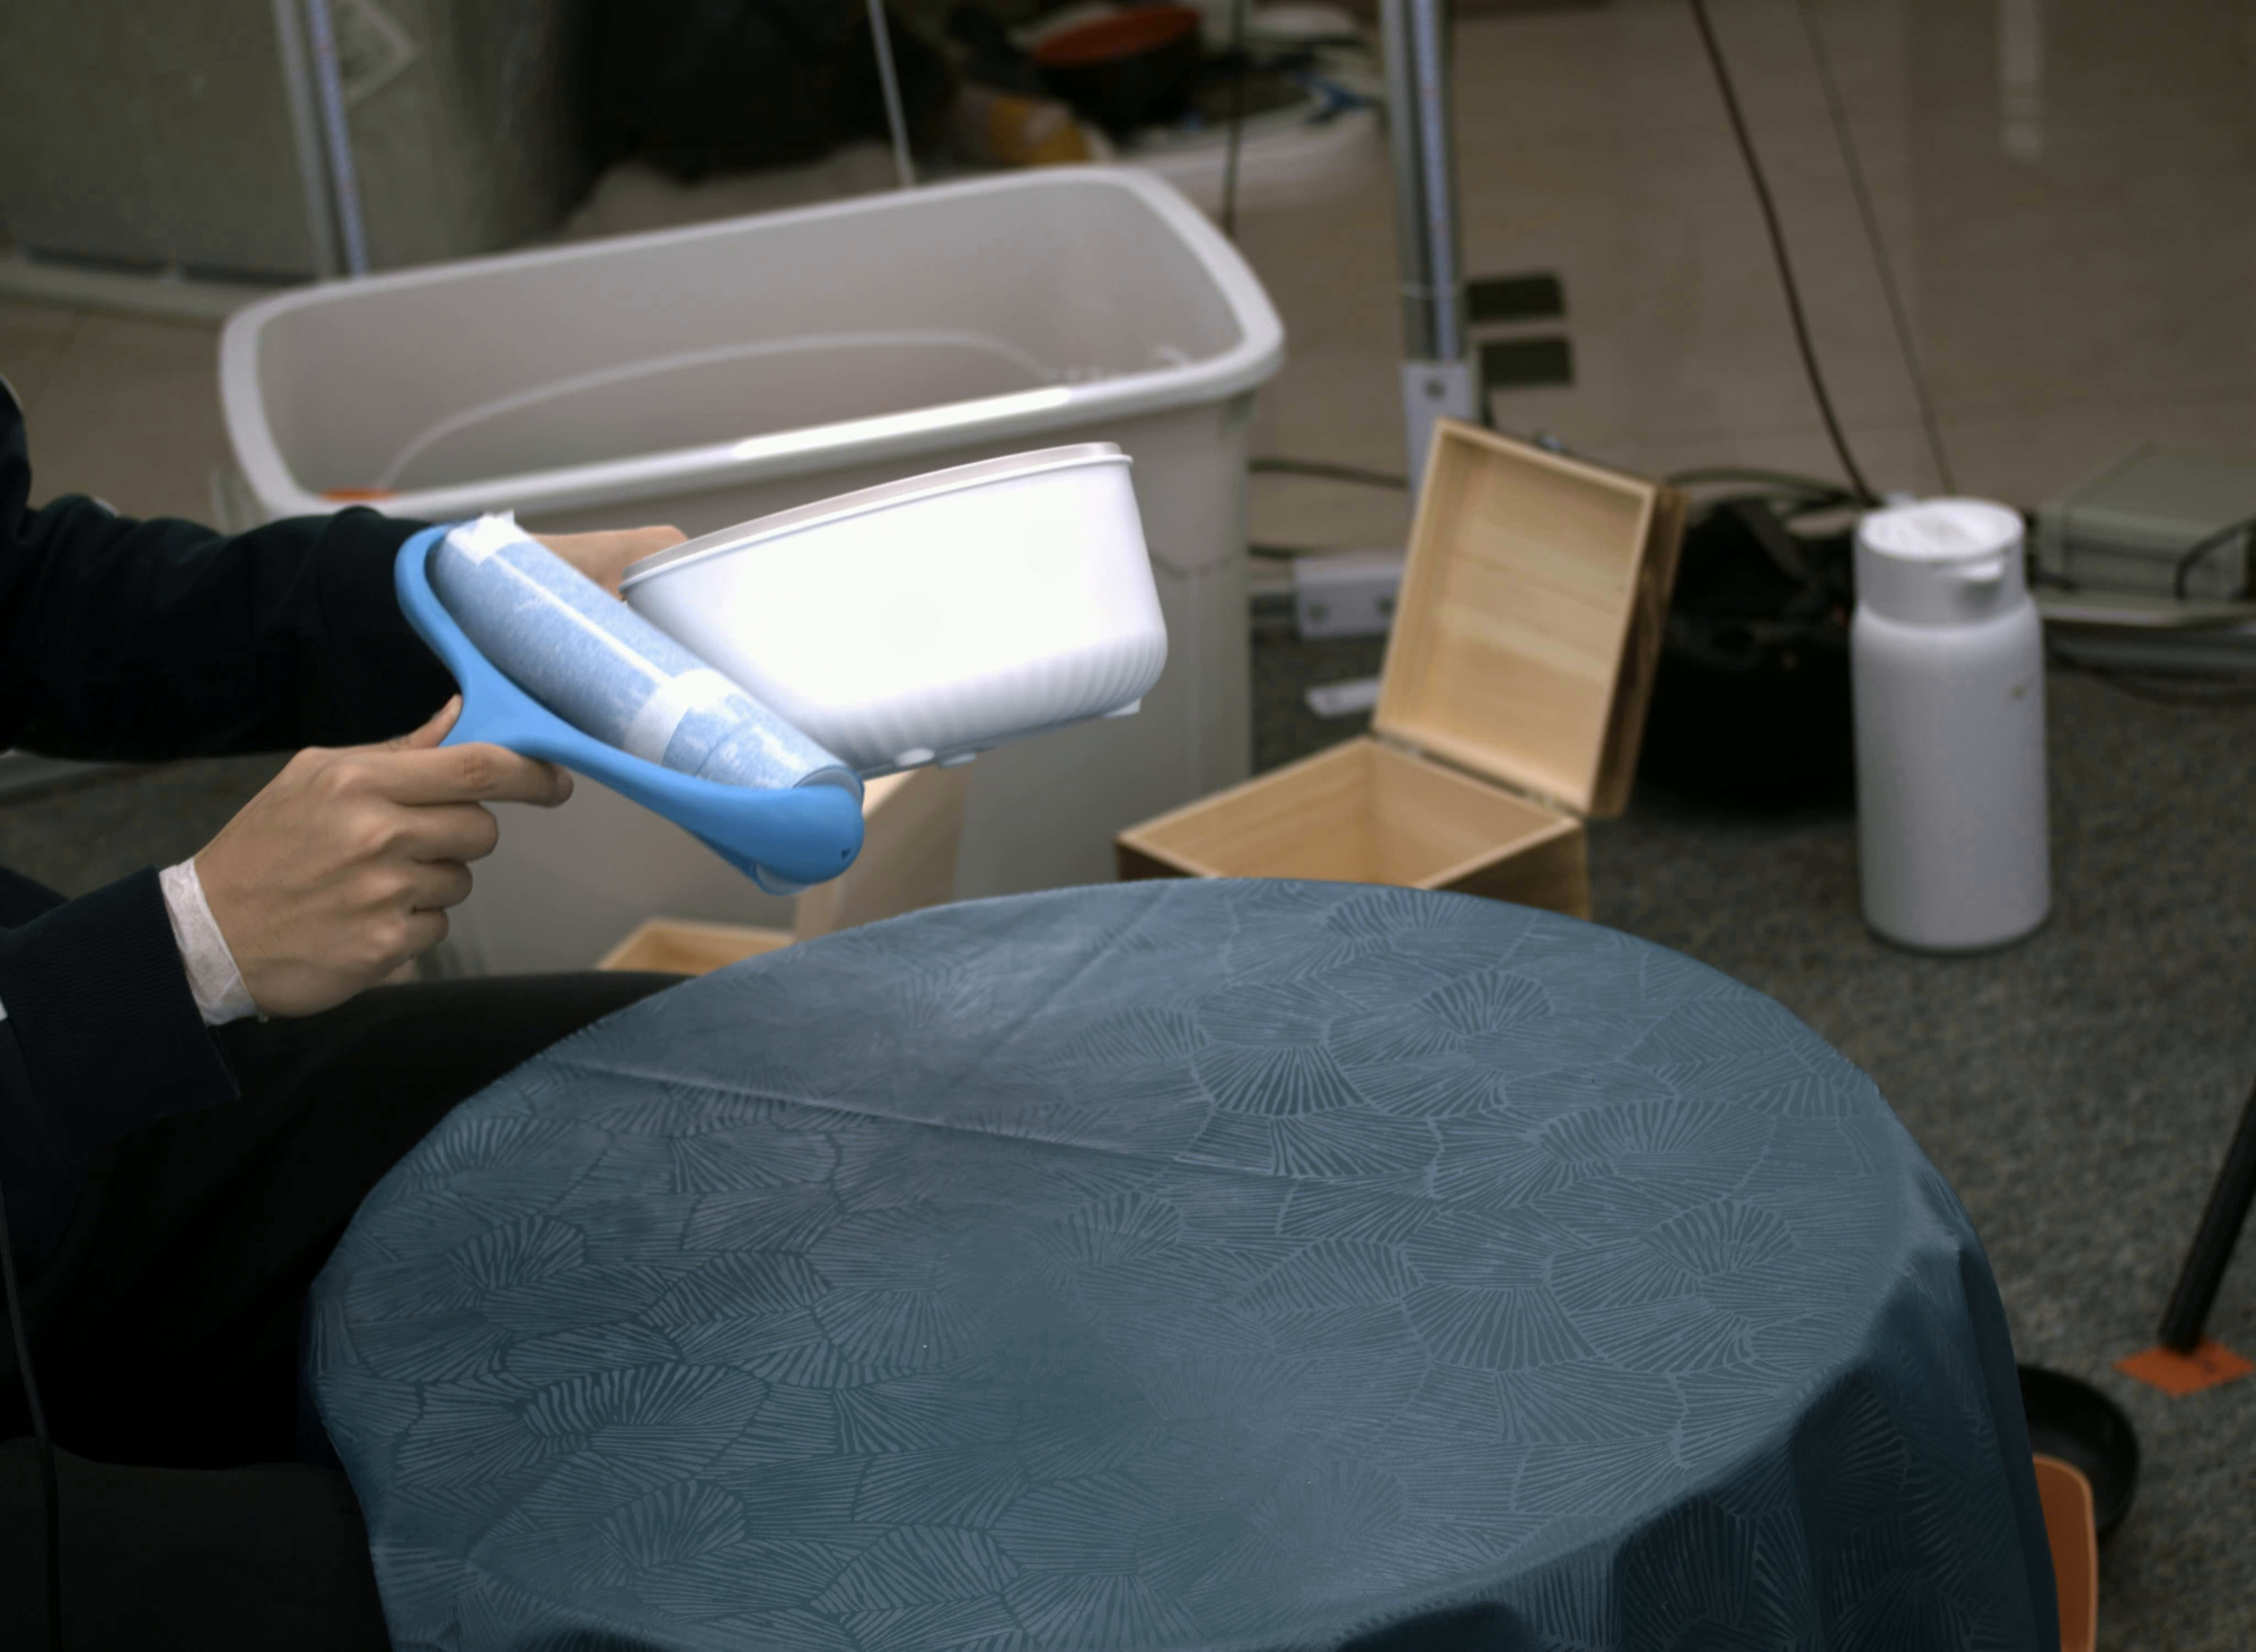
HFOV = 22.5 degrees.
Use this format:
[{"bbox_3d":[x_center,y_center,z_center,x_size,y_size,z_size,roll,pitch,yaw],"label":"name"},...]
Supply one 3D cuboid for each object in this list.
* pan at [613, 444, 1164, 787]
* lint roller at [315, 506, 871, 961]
[{"bbox_3d":[-0.133,-0.057,2.197,0.200,0.102,0.356,-15,-1,-40],"label":"pan"},{"bbox_3d":[-0.219,-0.020,2.030,0.226,0.069,0.178,34,55,28],"label":"lint roller"}]
